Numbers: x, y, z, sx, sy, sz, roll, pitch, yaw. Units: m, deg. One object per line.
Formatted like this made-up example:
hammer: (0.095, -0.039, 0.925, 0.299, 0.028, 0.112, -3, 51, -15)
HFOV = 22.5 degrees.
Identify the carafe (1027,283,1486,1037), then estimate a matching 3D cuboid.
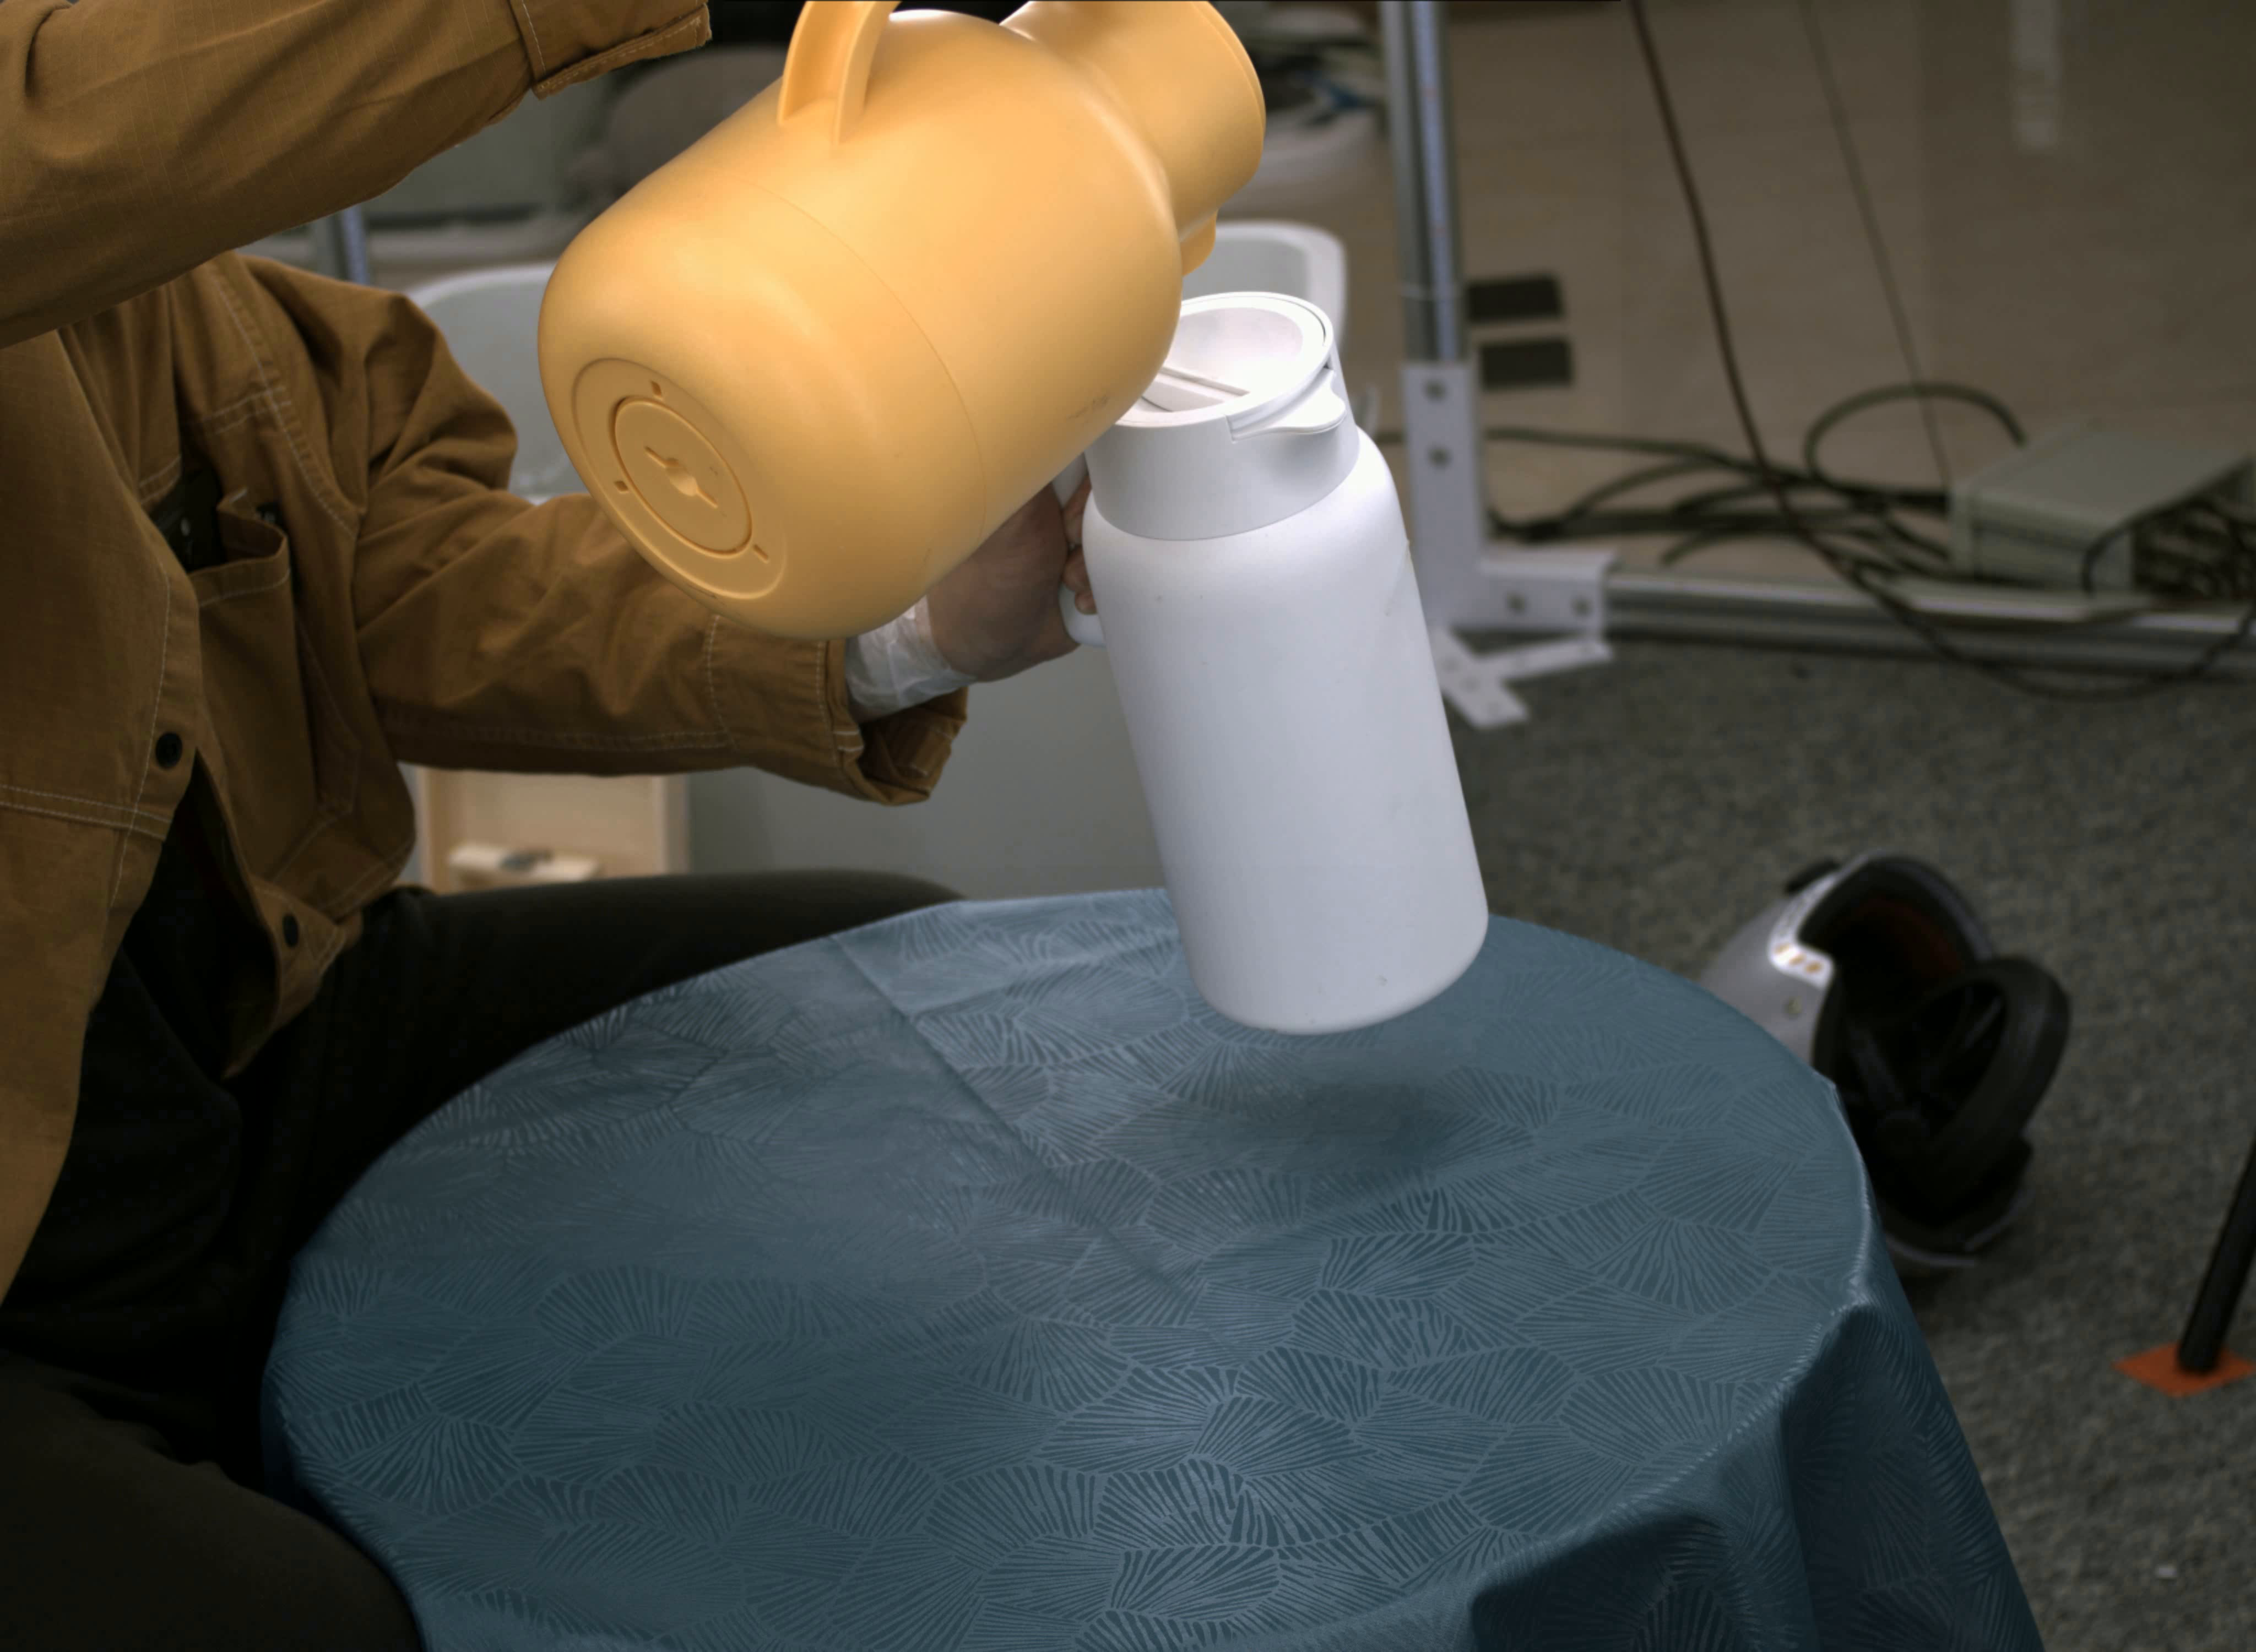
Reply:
carafe: (0.041, -0.063, 2.106, 0.171, 0.274, 0.122, 21, 49, 43)

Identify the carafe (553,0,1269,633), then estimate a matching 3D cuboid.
carafe: (-0.066, -0.207, 1.880, 0.162, 0.206, 0.257, 19, 49, 35)
